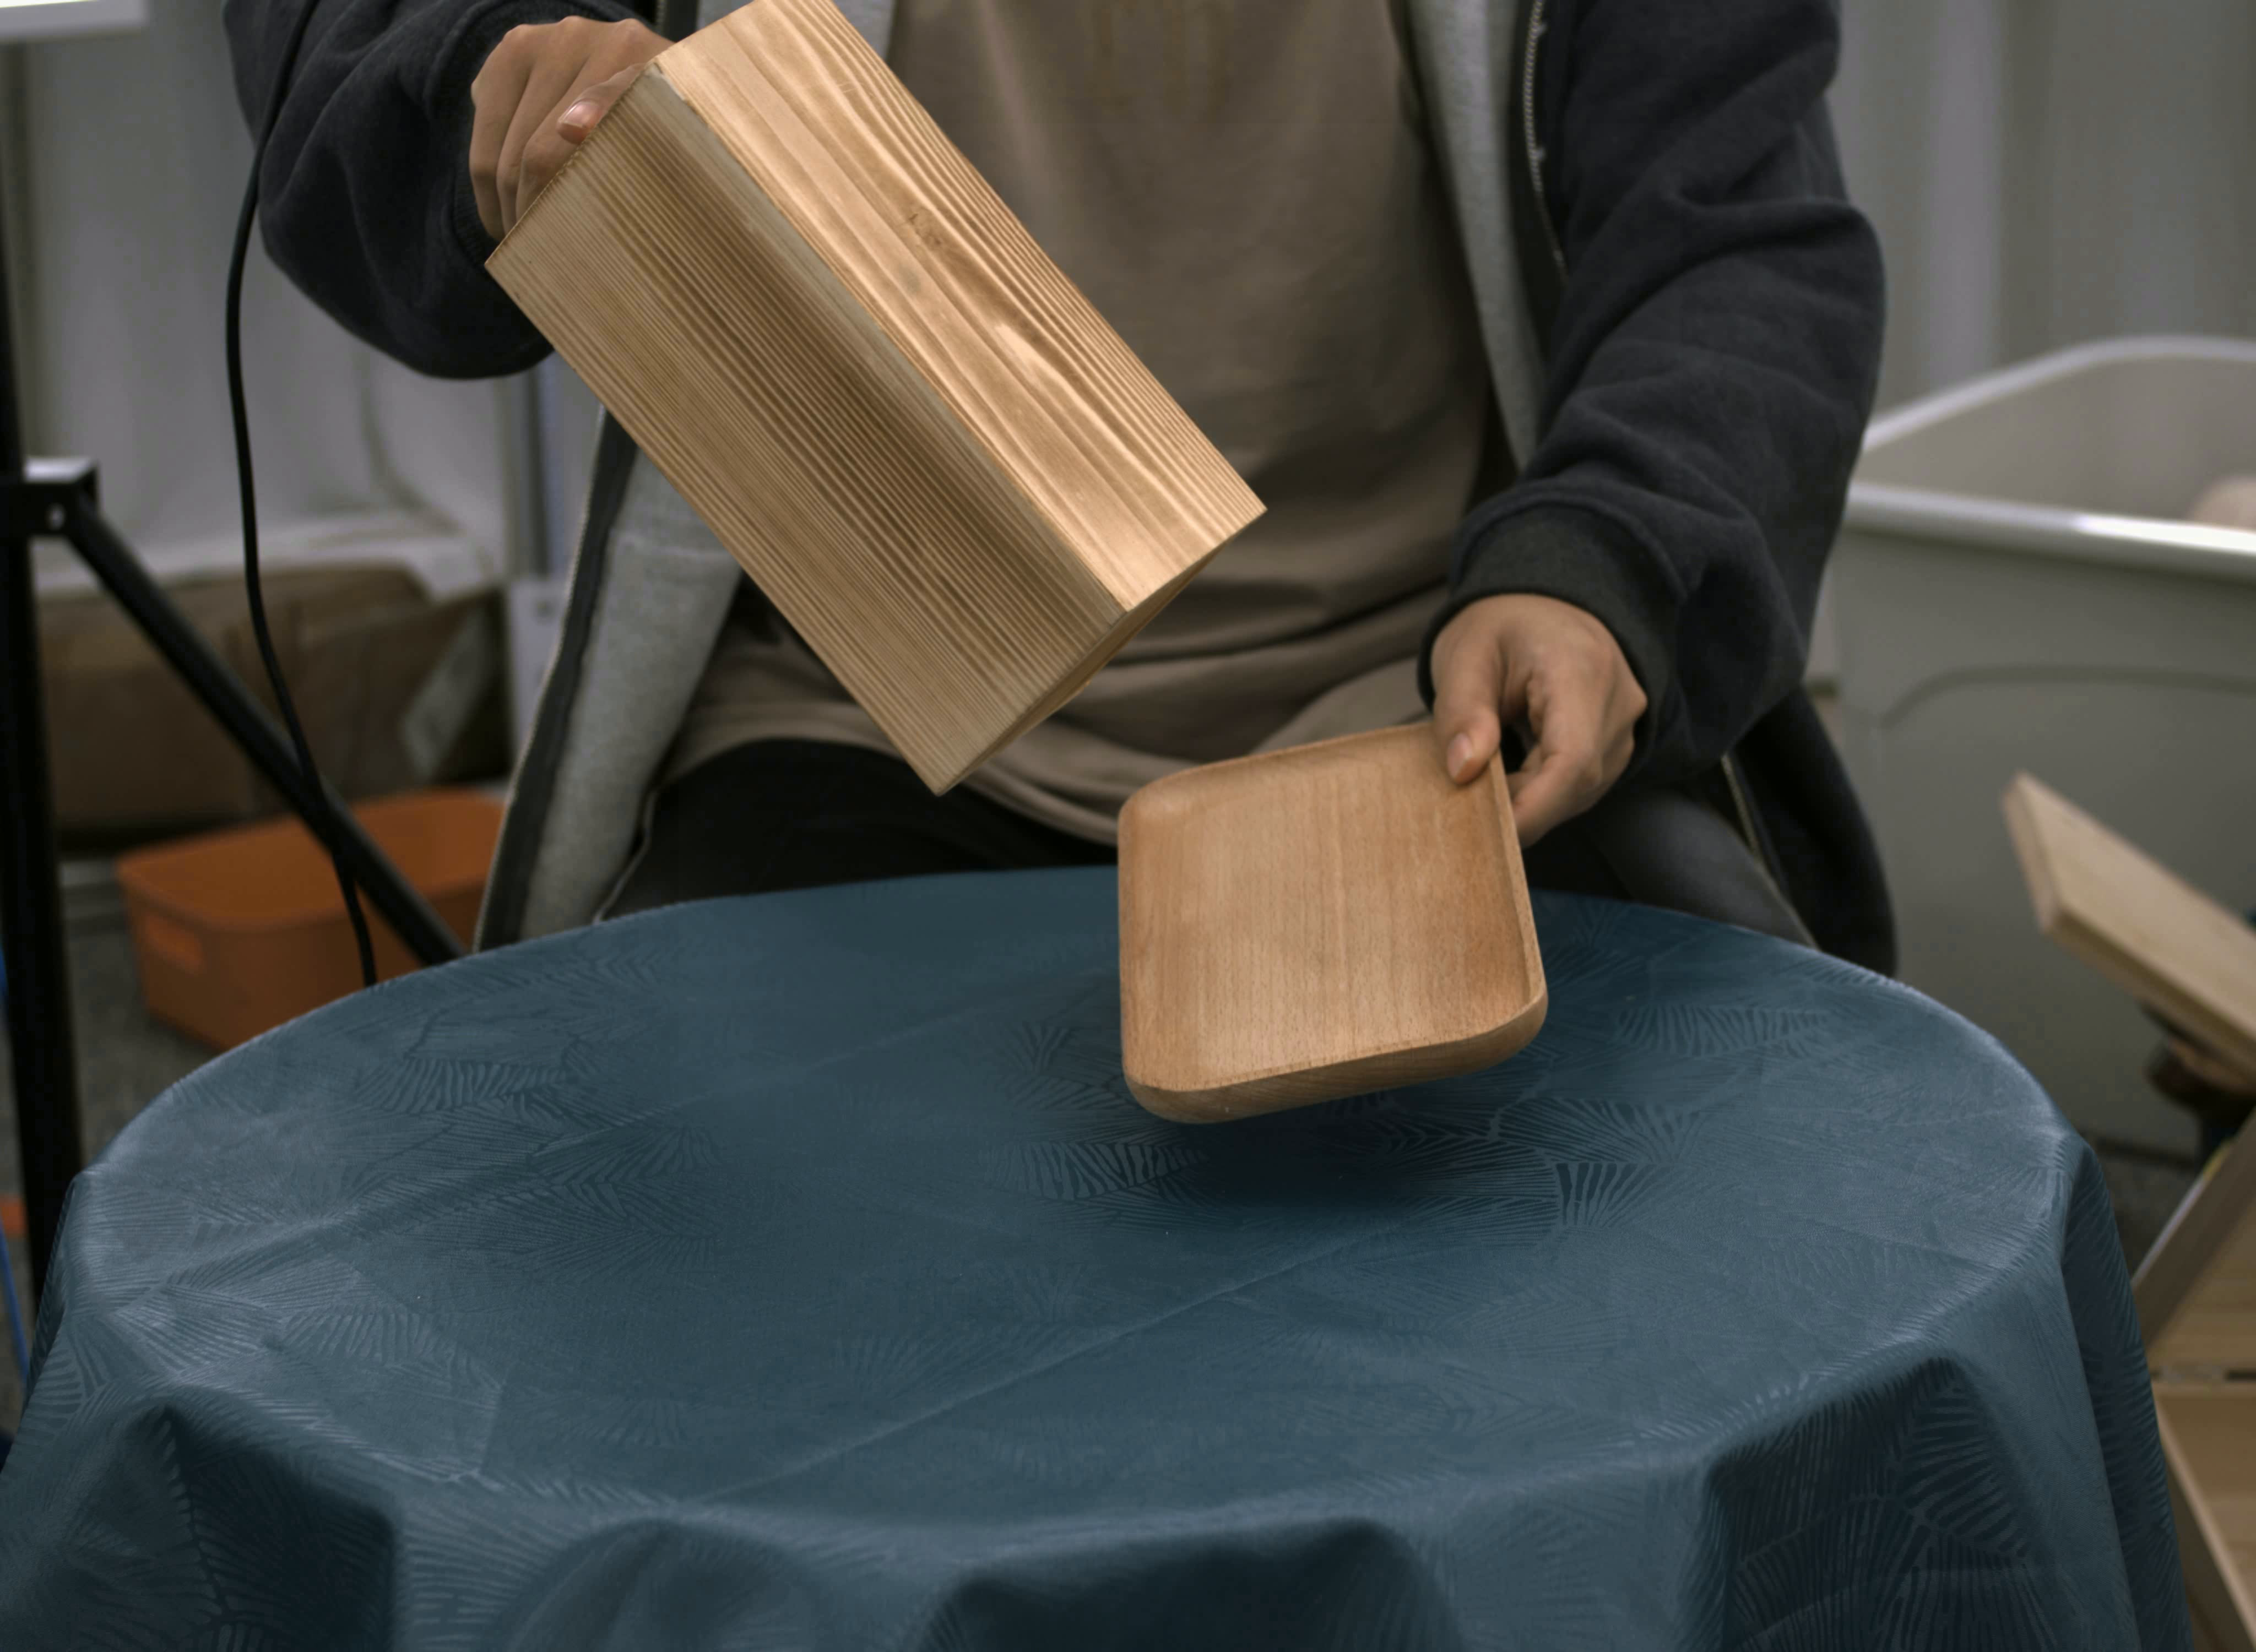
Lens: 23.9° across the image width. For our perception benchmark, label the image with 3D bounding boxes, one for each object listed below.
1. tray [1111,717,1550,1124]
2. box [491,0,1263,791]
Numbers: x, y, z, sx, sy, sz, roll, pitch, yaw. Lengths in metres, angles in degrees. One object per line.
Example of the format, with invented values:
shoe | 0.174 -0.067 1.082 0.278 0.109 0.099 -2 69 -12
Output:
tray | 0.060 0.027 1.641 0.130 0.023 0.252 -9 22 4
box | -0.076 -0.131 1.586 0.079 0.212 0.108 -35 -7 -45
